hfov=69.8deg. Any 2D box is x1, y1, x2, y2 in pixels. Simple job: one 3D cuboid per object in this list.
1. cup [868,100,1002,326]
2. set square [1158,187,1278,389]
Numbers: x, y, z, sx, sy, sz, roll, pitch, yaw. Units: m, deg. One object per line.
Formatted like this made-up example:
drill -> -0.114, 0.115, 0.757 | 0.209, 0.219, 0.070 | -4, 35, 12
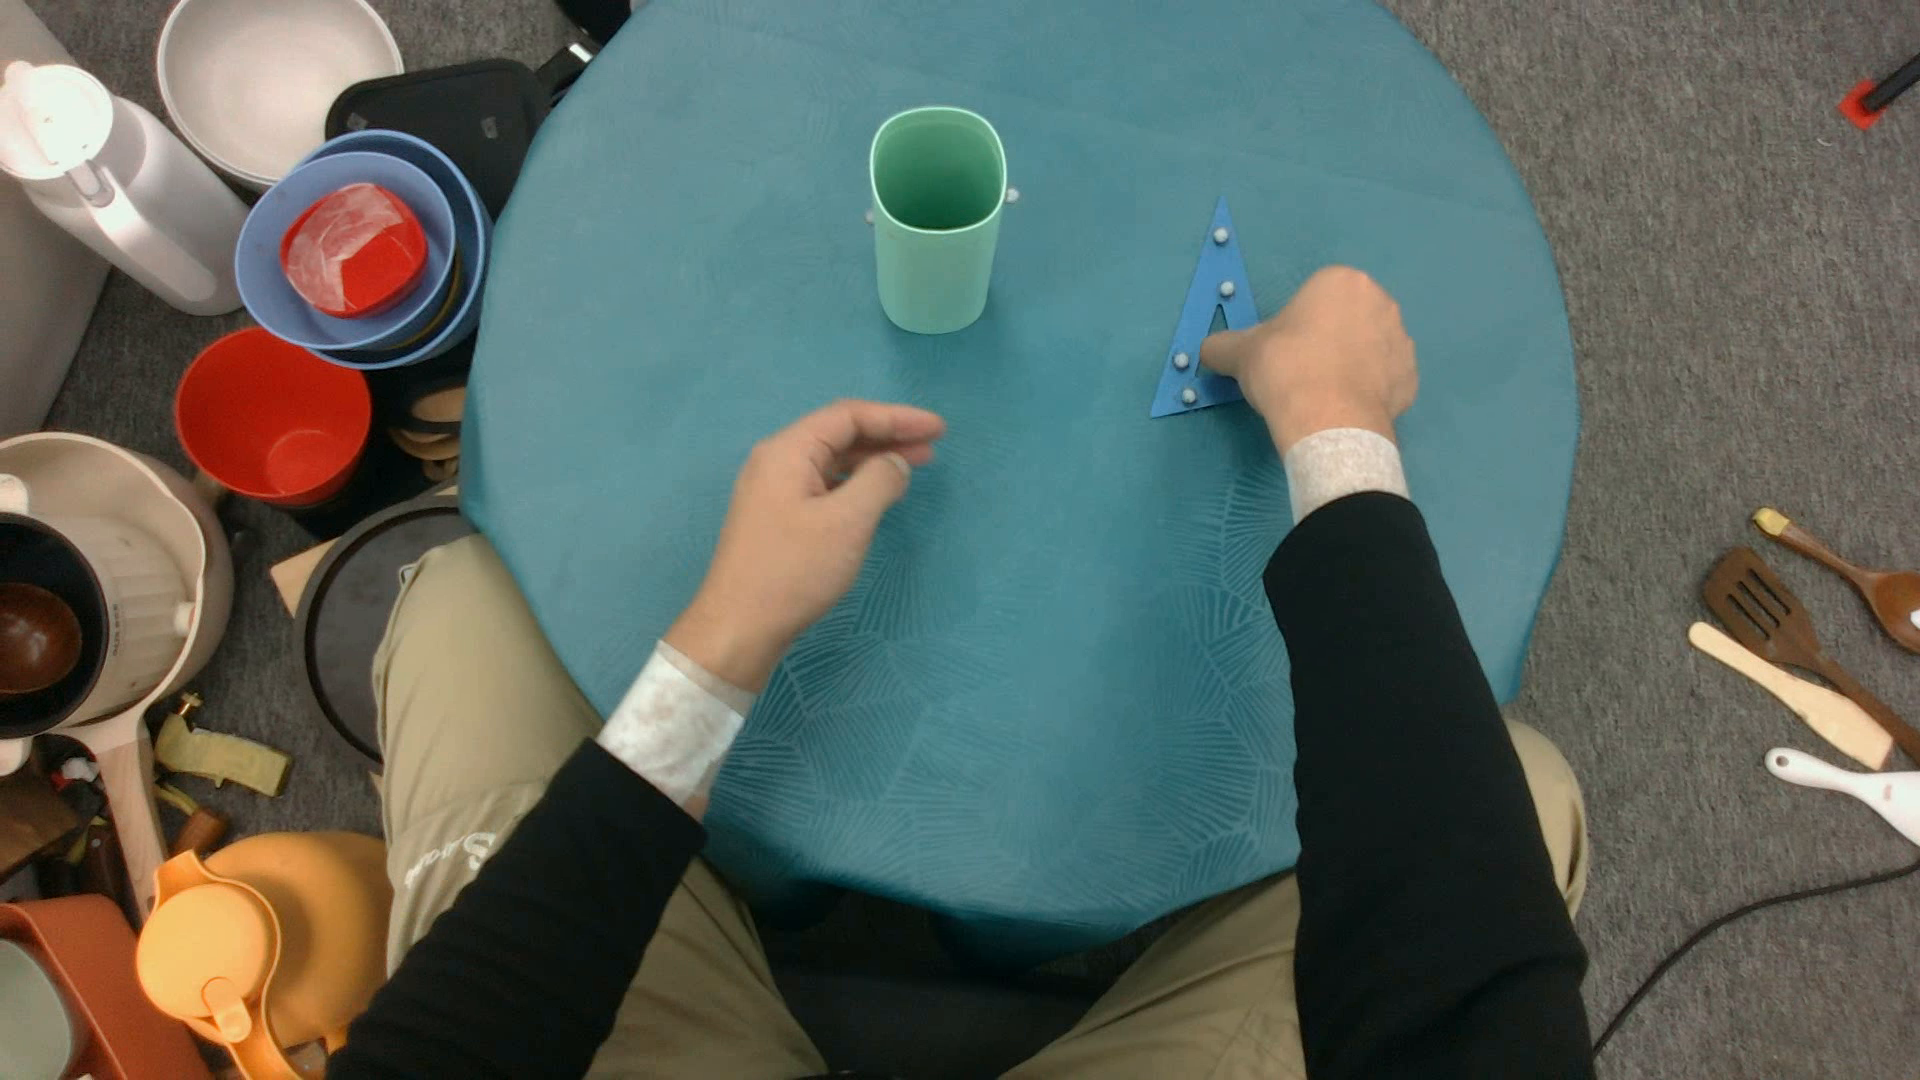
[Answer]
cup -> -0.015, -0.159, 0.696 | 0.067, 0.132, 0.067 | 1, 77, -4
set square -> 0.158, -0.133, 0.756 | 0.061, 0.006, 0.132 | 21, 77, 12
